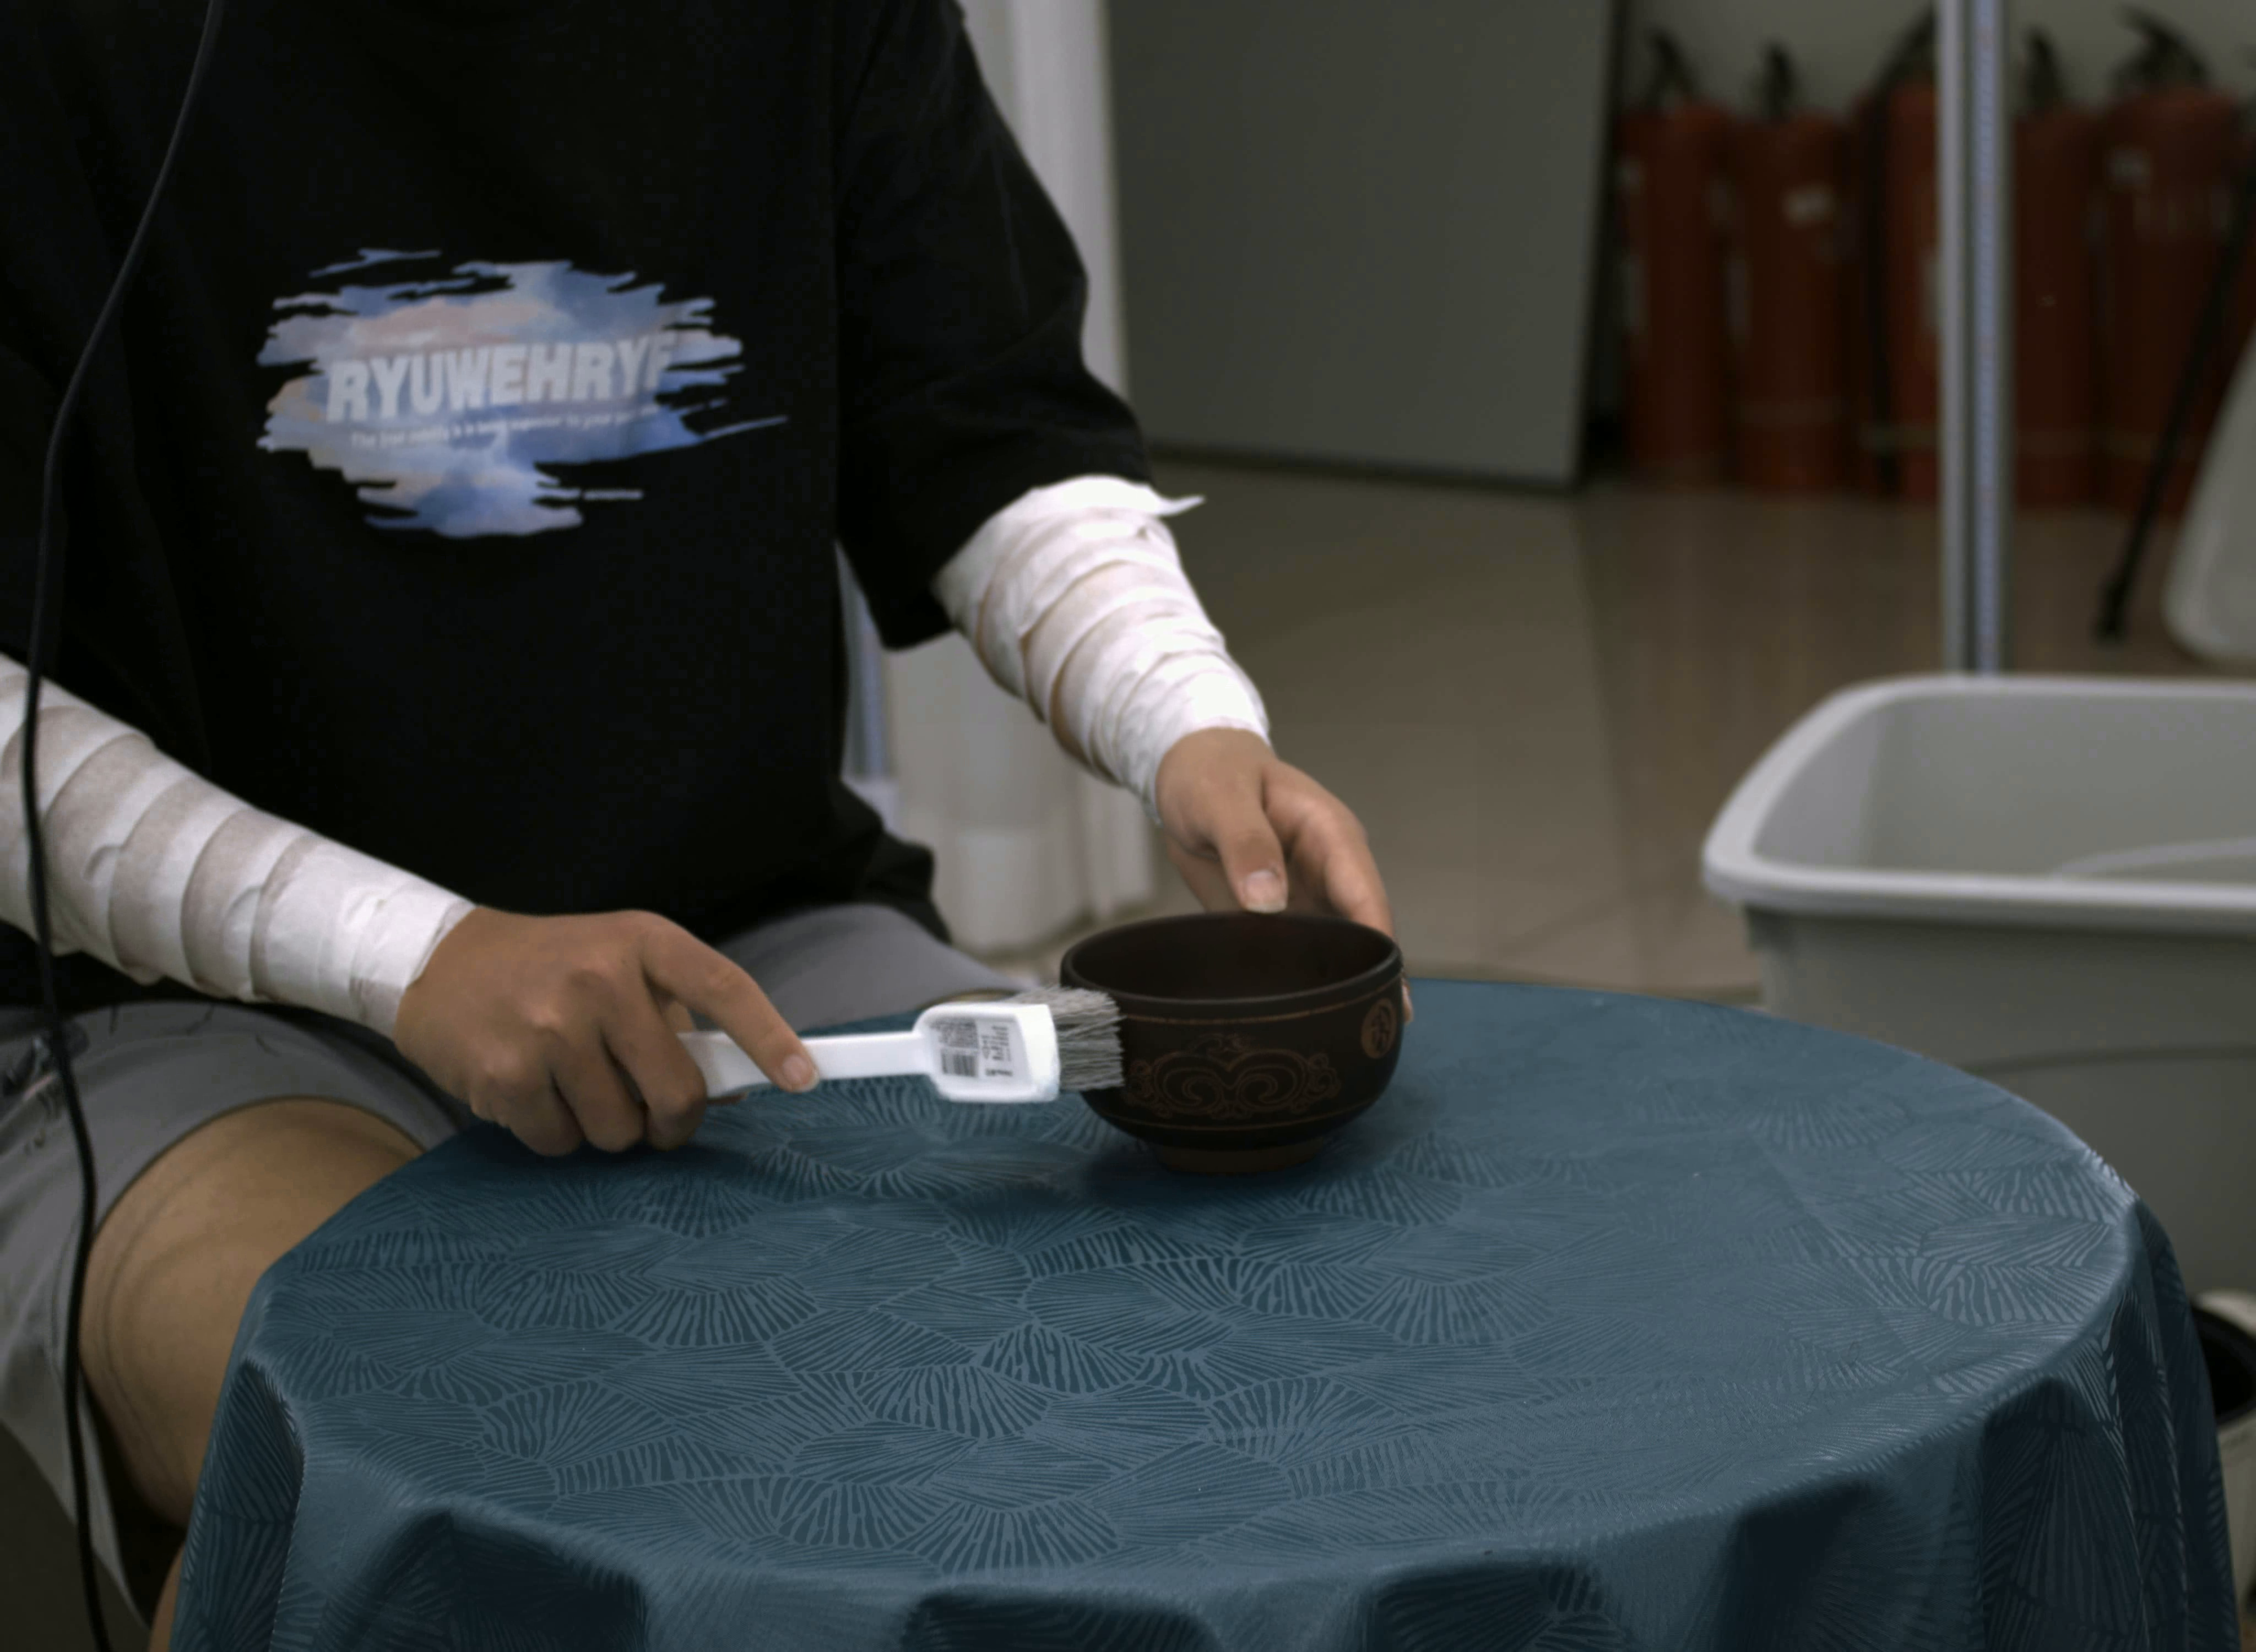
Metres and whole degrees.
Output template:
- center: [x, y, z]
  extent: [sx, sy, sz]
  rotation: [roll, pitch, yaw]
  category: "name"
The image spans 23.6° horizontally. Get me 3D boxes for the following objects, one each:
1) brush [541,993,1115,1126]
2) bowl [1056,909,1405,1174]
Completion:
- center: [-0.100, 0.081, 1.821]
  extent: [0.245, 0.035, 0.049]
  rotation: [-7, -3, 41]
  category: "brush"
- center: [0.036, 0.075, 1.799]
  extent: [0.116, 0.070, 0.118]
  rotation: [-6, 12, 0]
  category: "bowl"
